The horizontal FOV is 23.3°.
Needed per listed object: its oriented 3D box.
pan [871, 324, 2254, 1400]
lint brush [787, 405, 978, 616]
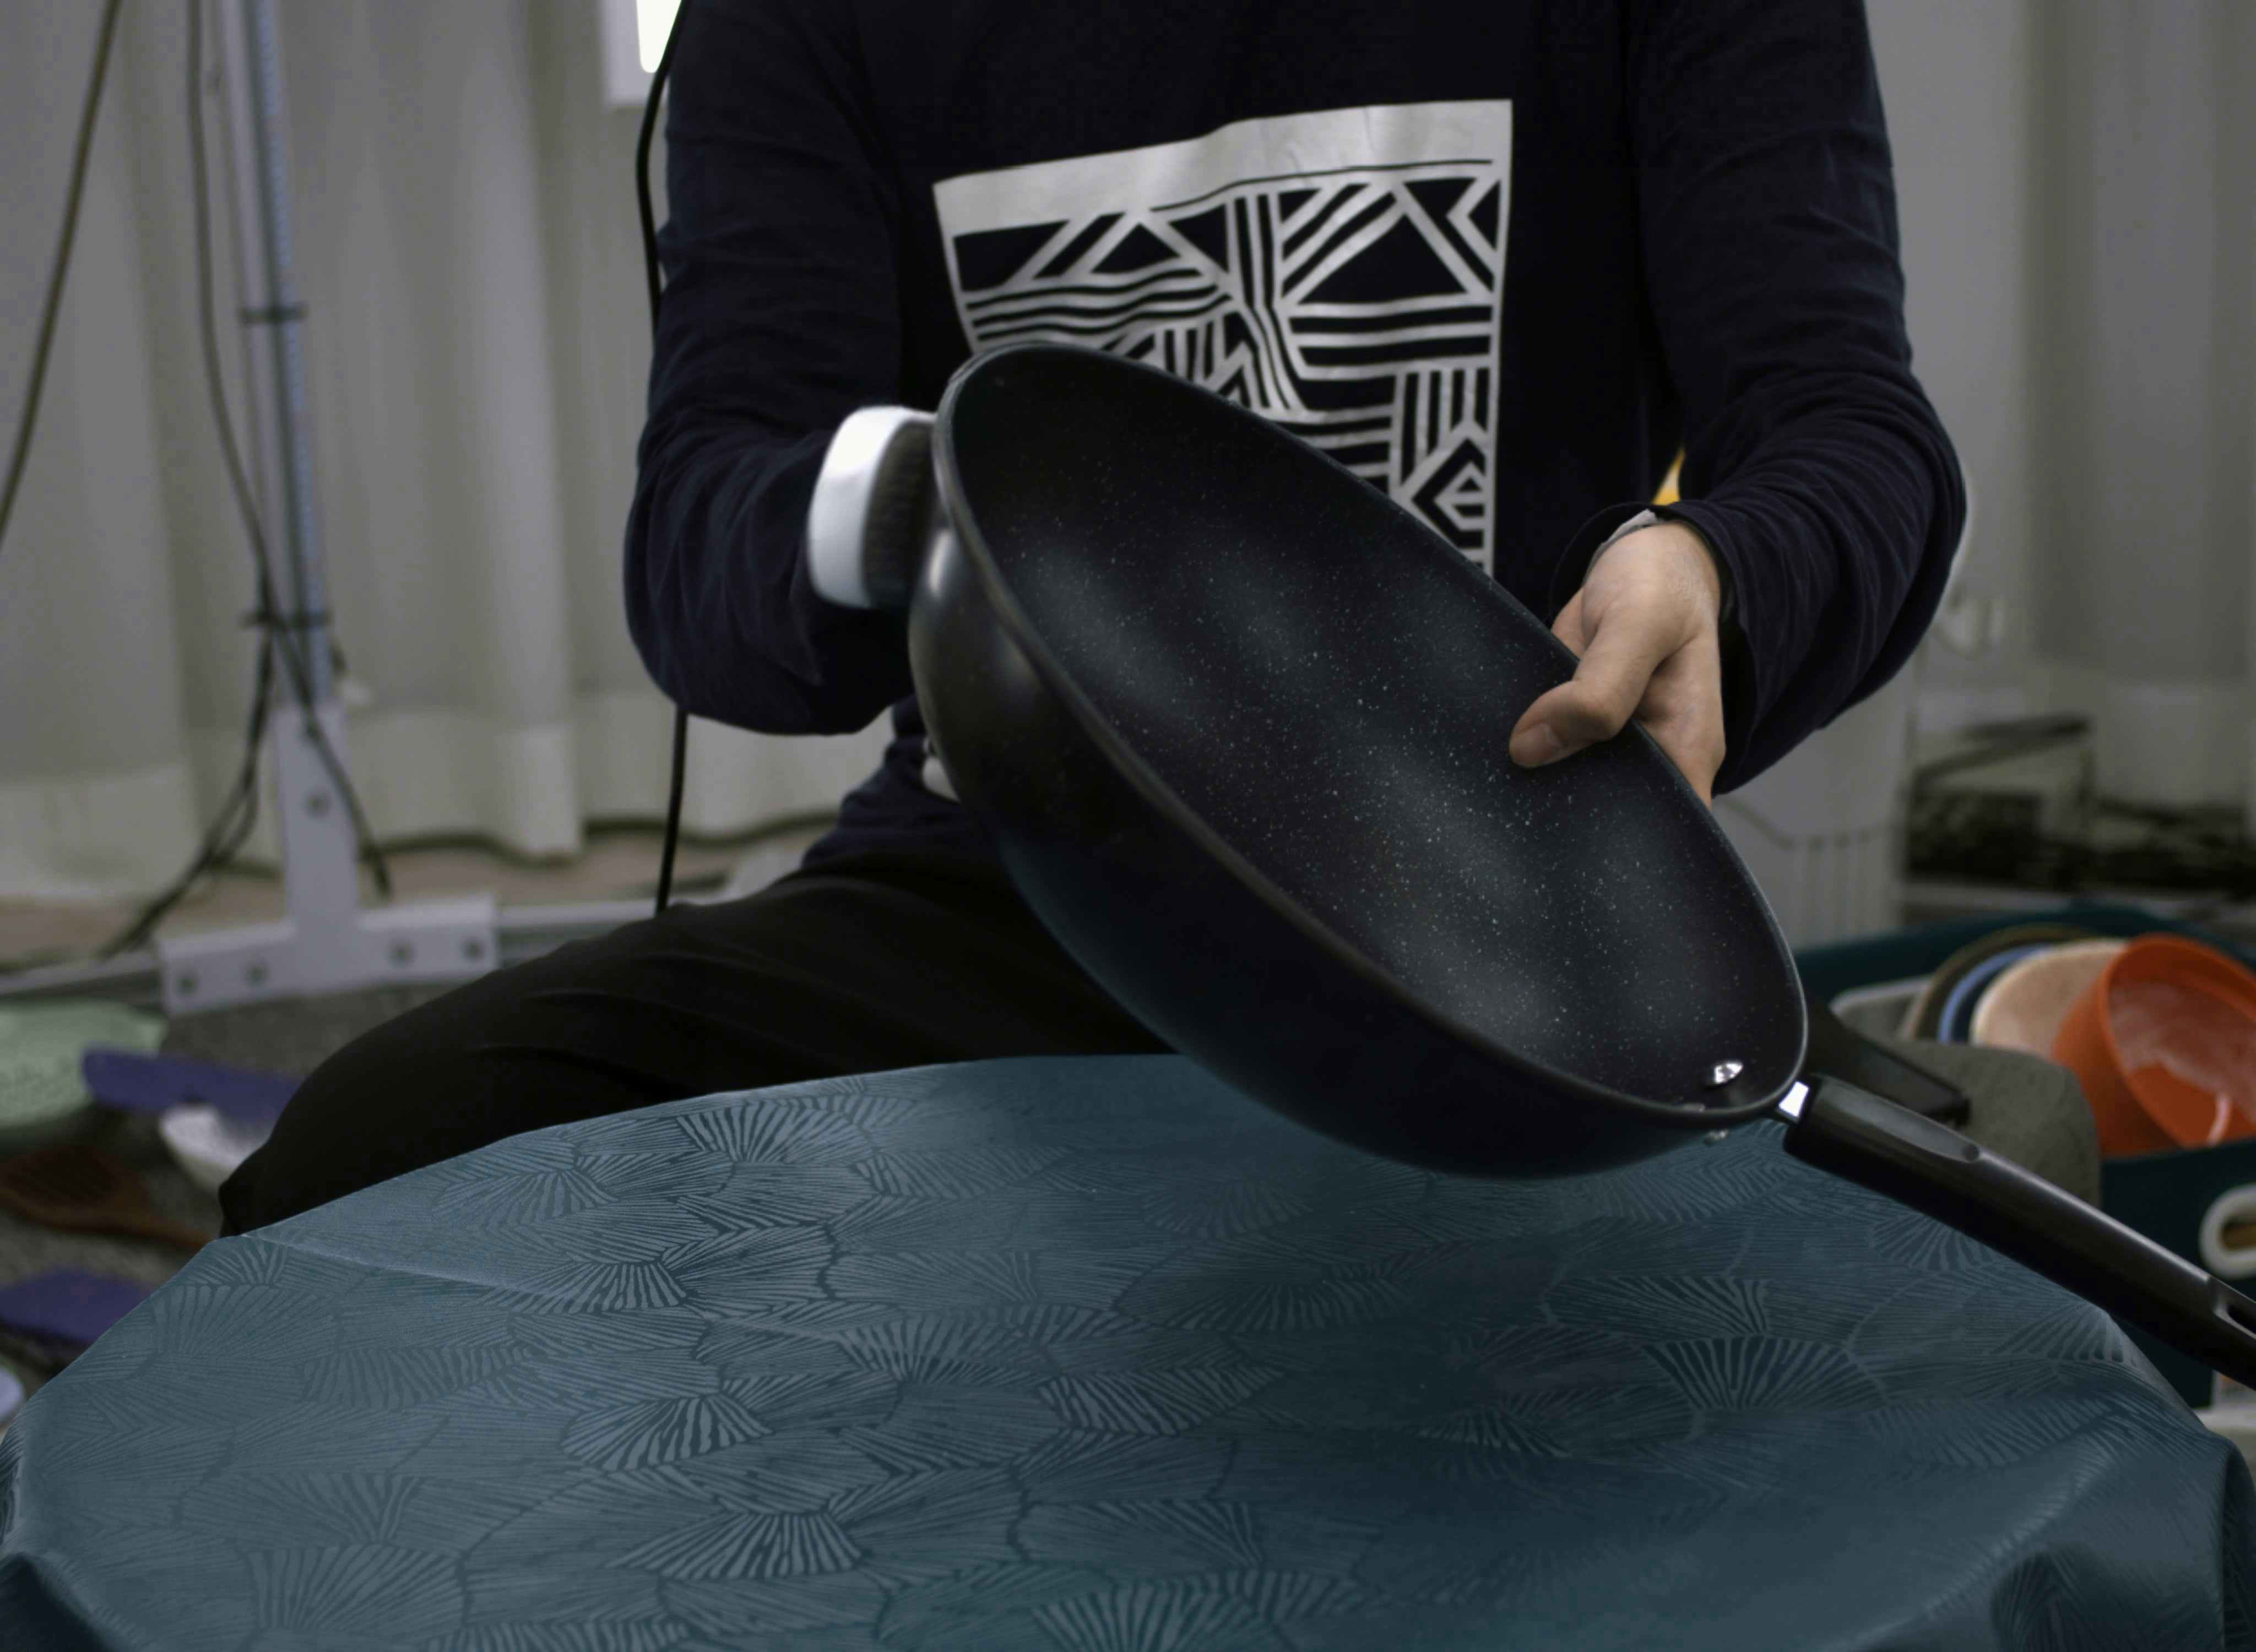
[{"bbox_3d":[0.112,0.040,1.541,0.476,0.111,0.312,39,24,-1],"label":"pan"},{"bbox_3d":[-0.048,-0.092,1.635,0.021,0.060,0.308,7,3,14],"label":"lint brush"}]
